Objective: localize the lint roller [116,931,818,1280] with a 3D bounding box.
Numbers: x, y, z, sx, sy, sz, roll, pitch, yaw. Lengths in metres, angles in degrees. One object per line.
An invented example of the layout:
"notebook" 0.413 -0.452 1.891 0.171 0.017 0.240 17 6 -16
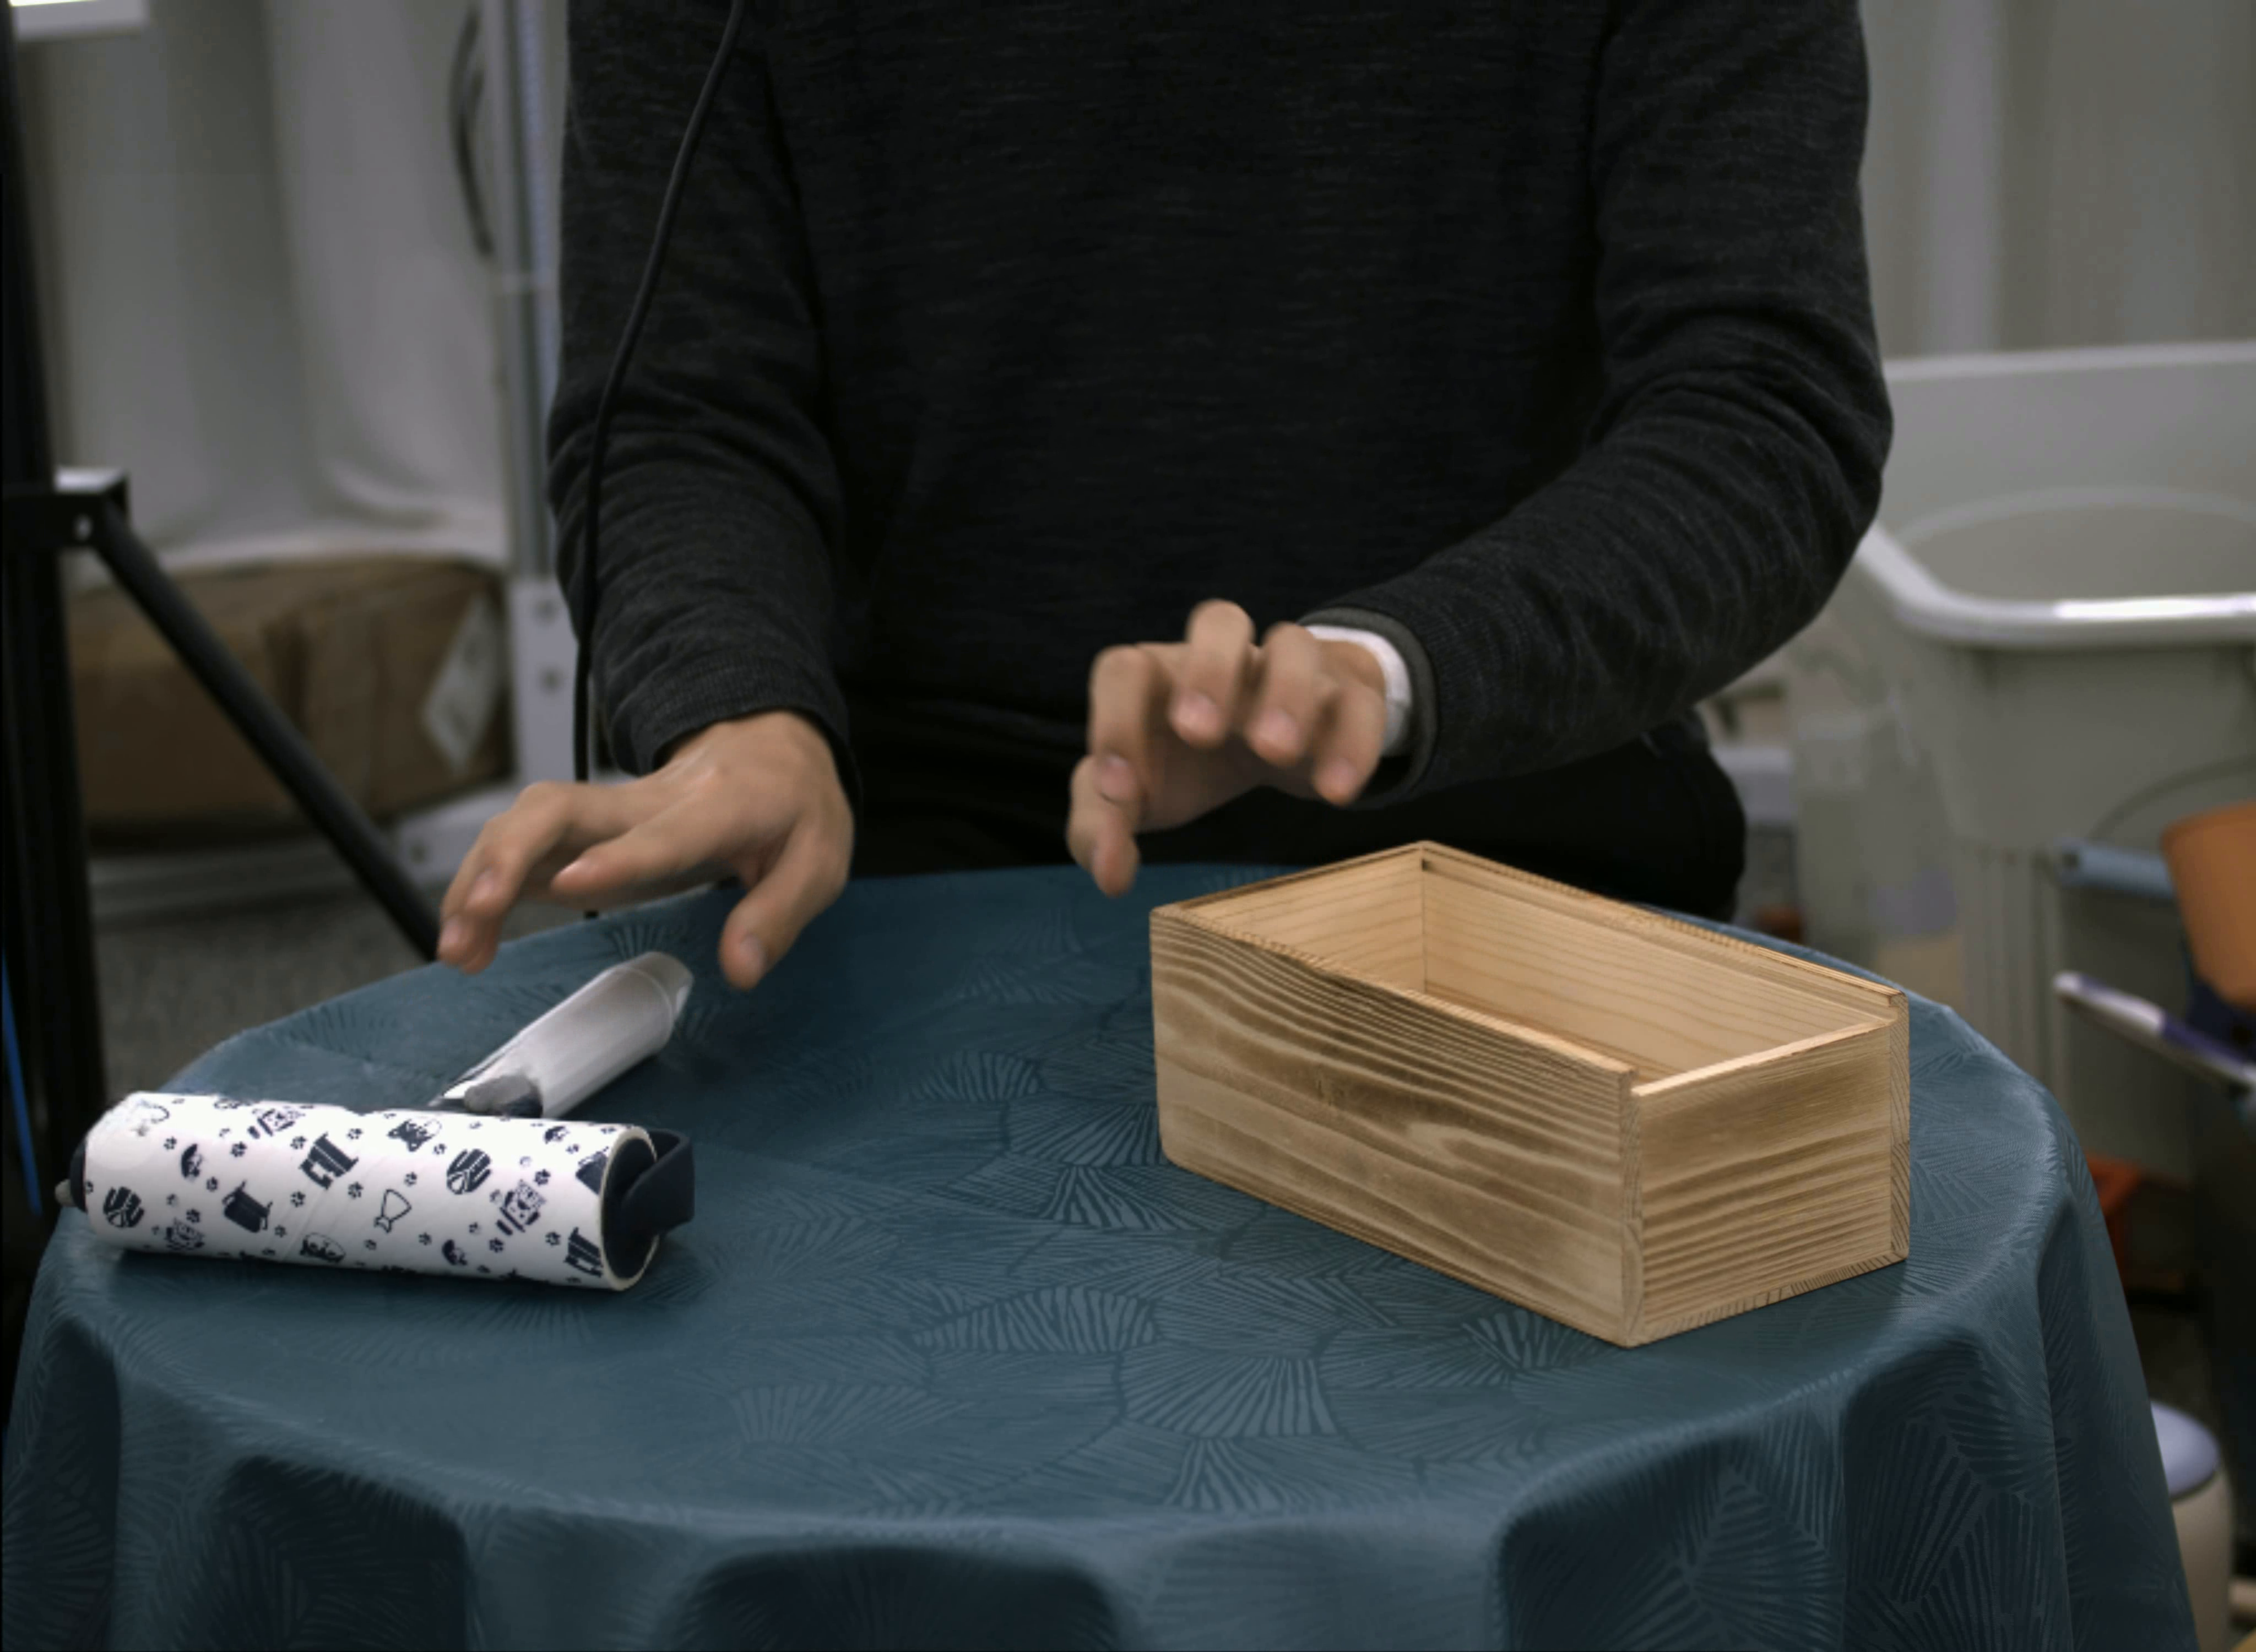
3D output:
"lint roller" -0.166 0.068 1.619 0.179 0.050 0.243 8 20 28

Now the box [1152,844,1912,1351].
"box" 0.112 0.073 1.515 0.105 0.080 0.216 -13 18 -34
